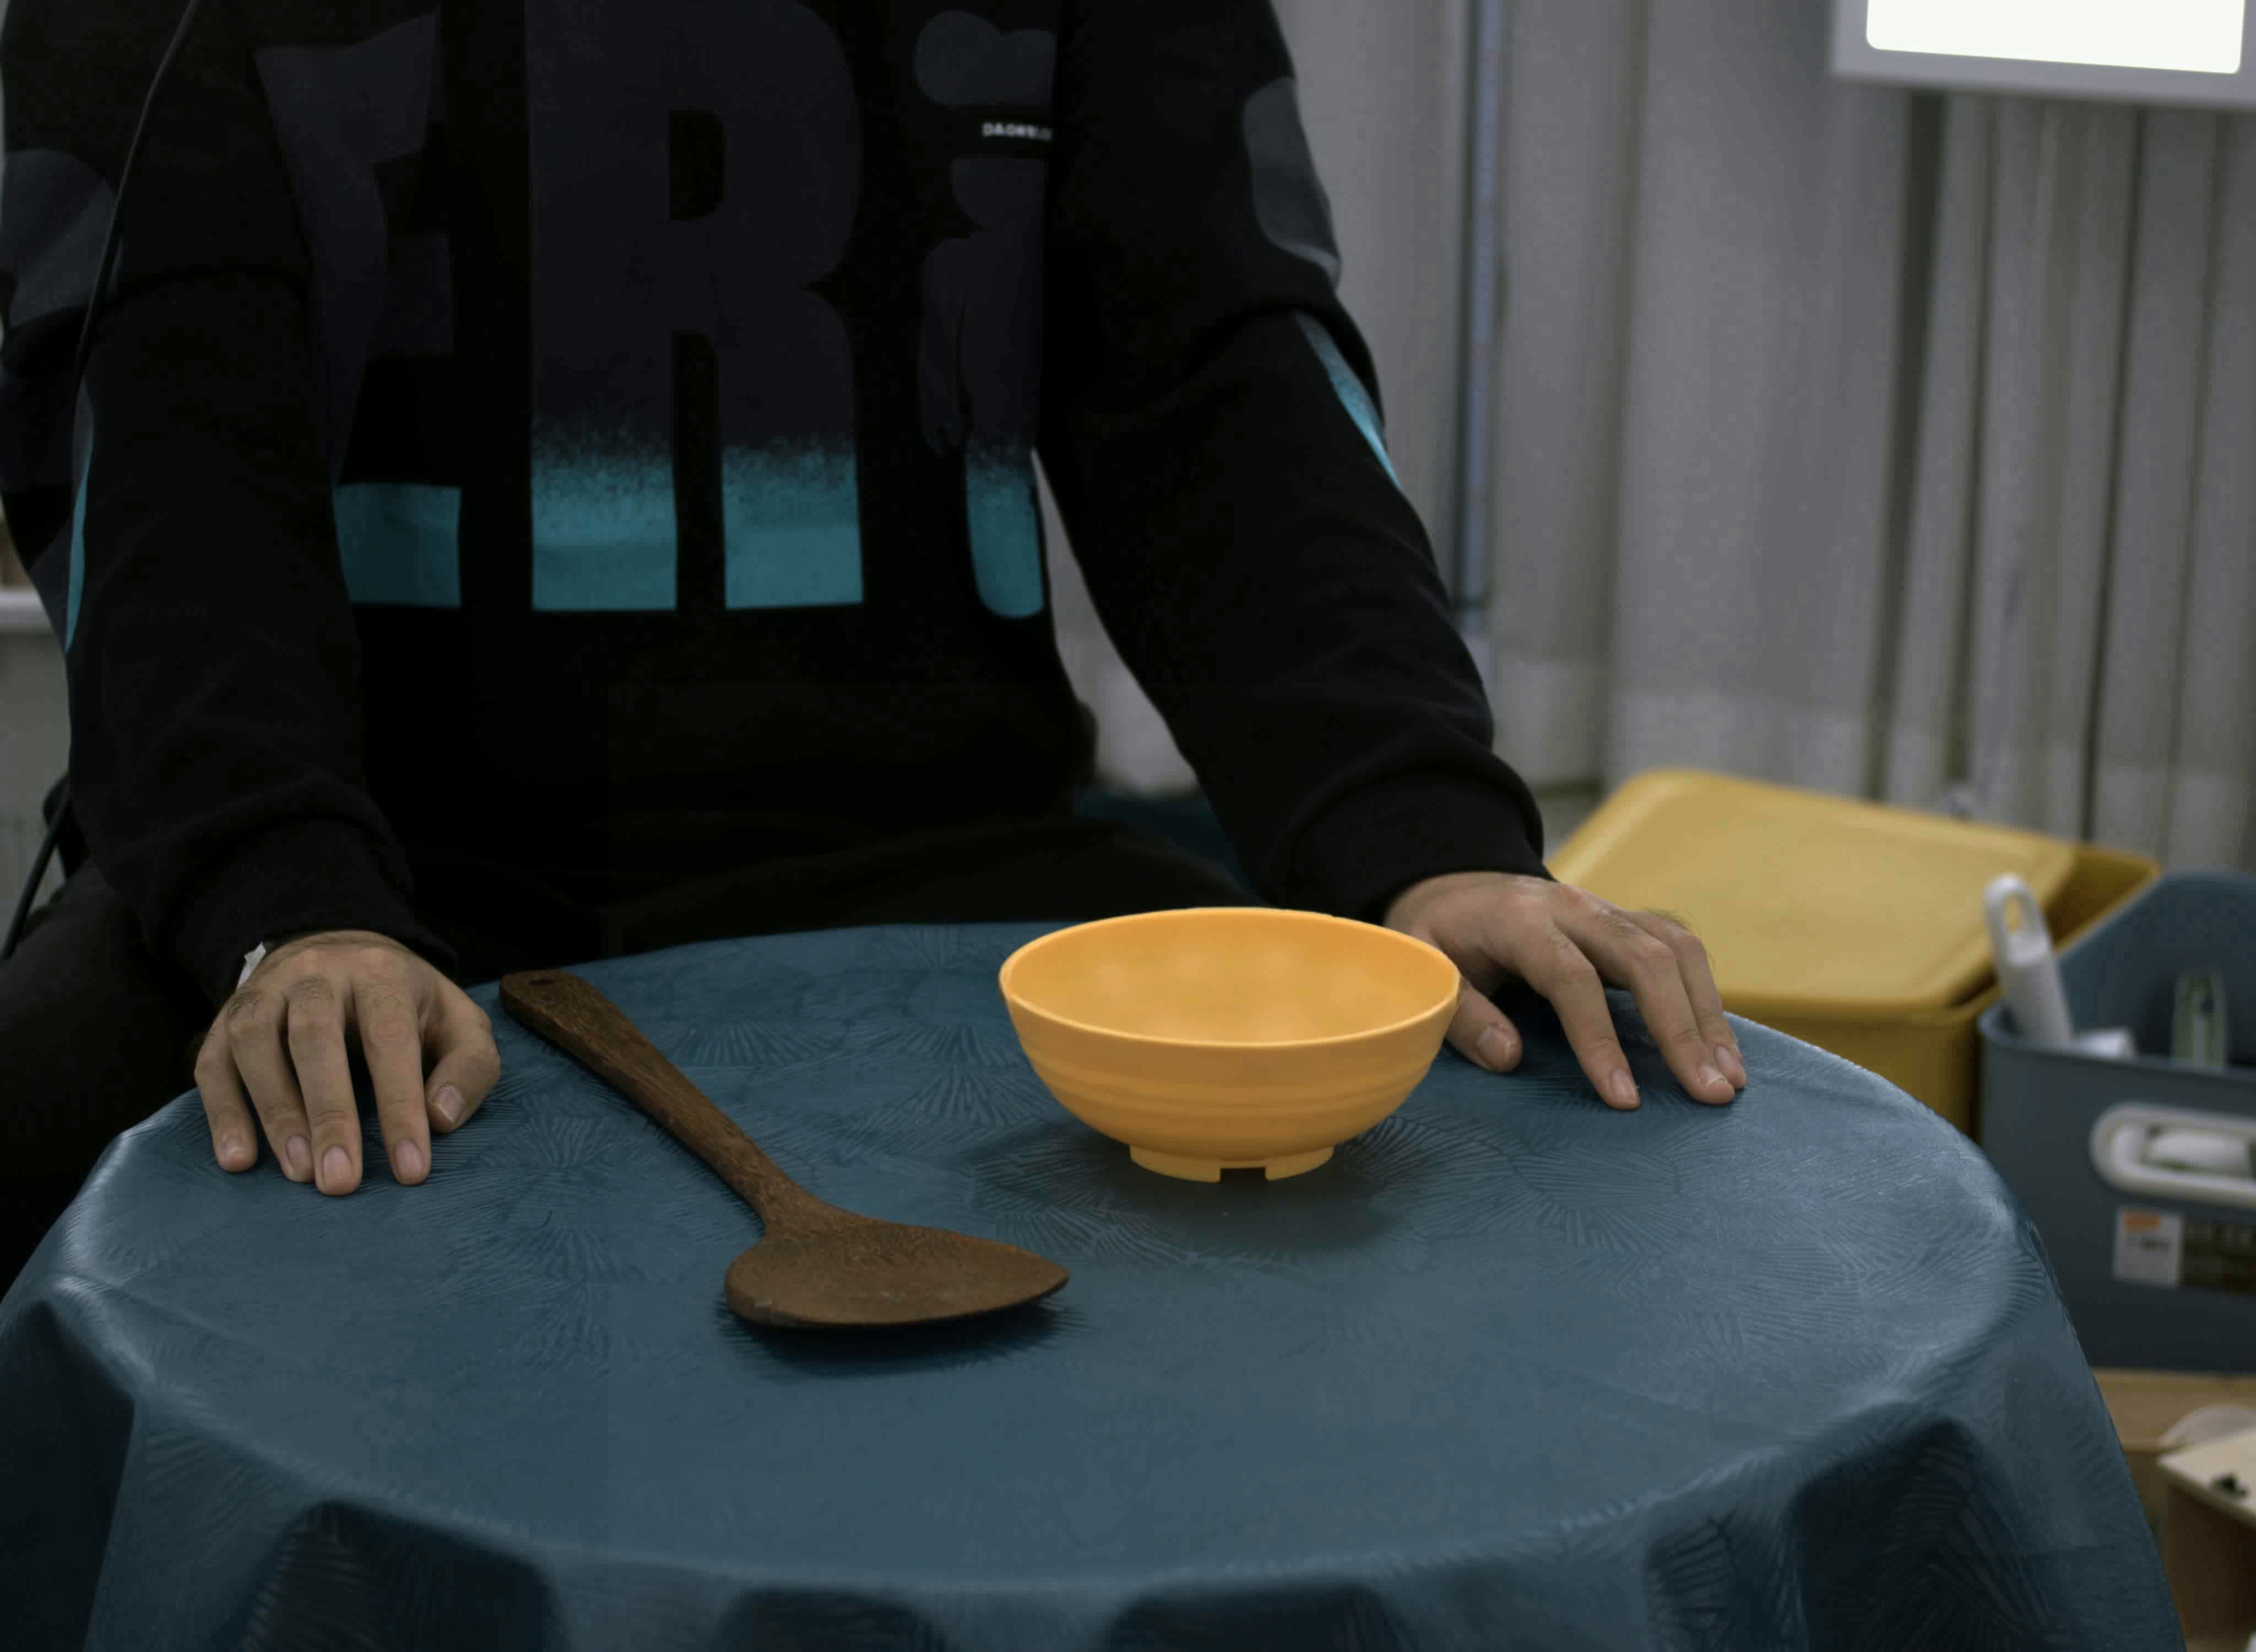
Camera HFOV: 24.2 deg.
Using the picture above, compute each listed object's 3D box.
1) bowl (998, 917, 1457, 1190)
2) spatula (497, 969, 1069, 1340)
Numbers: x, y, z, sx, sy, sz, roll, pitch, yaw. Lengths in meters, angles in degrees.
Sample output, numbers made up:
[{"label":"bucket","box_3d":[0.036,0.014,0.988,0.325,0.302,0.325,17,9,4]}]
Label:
[{"label":"bowl","box_3d":[0.030,0.076,1.656,0.145,0.060,0.144,3,14,0]},{"label":"spatula","box_3d":[-0.131,0.097,1.652,0.096,0.016,0.381,-6,17,-24]}]
